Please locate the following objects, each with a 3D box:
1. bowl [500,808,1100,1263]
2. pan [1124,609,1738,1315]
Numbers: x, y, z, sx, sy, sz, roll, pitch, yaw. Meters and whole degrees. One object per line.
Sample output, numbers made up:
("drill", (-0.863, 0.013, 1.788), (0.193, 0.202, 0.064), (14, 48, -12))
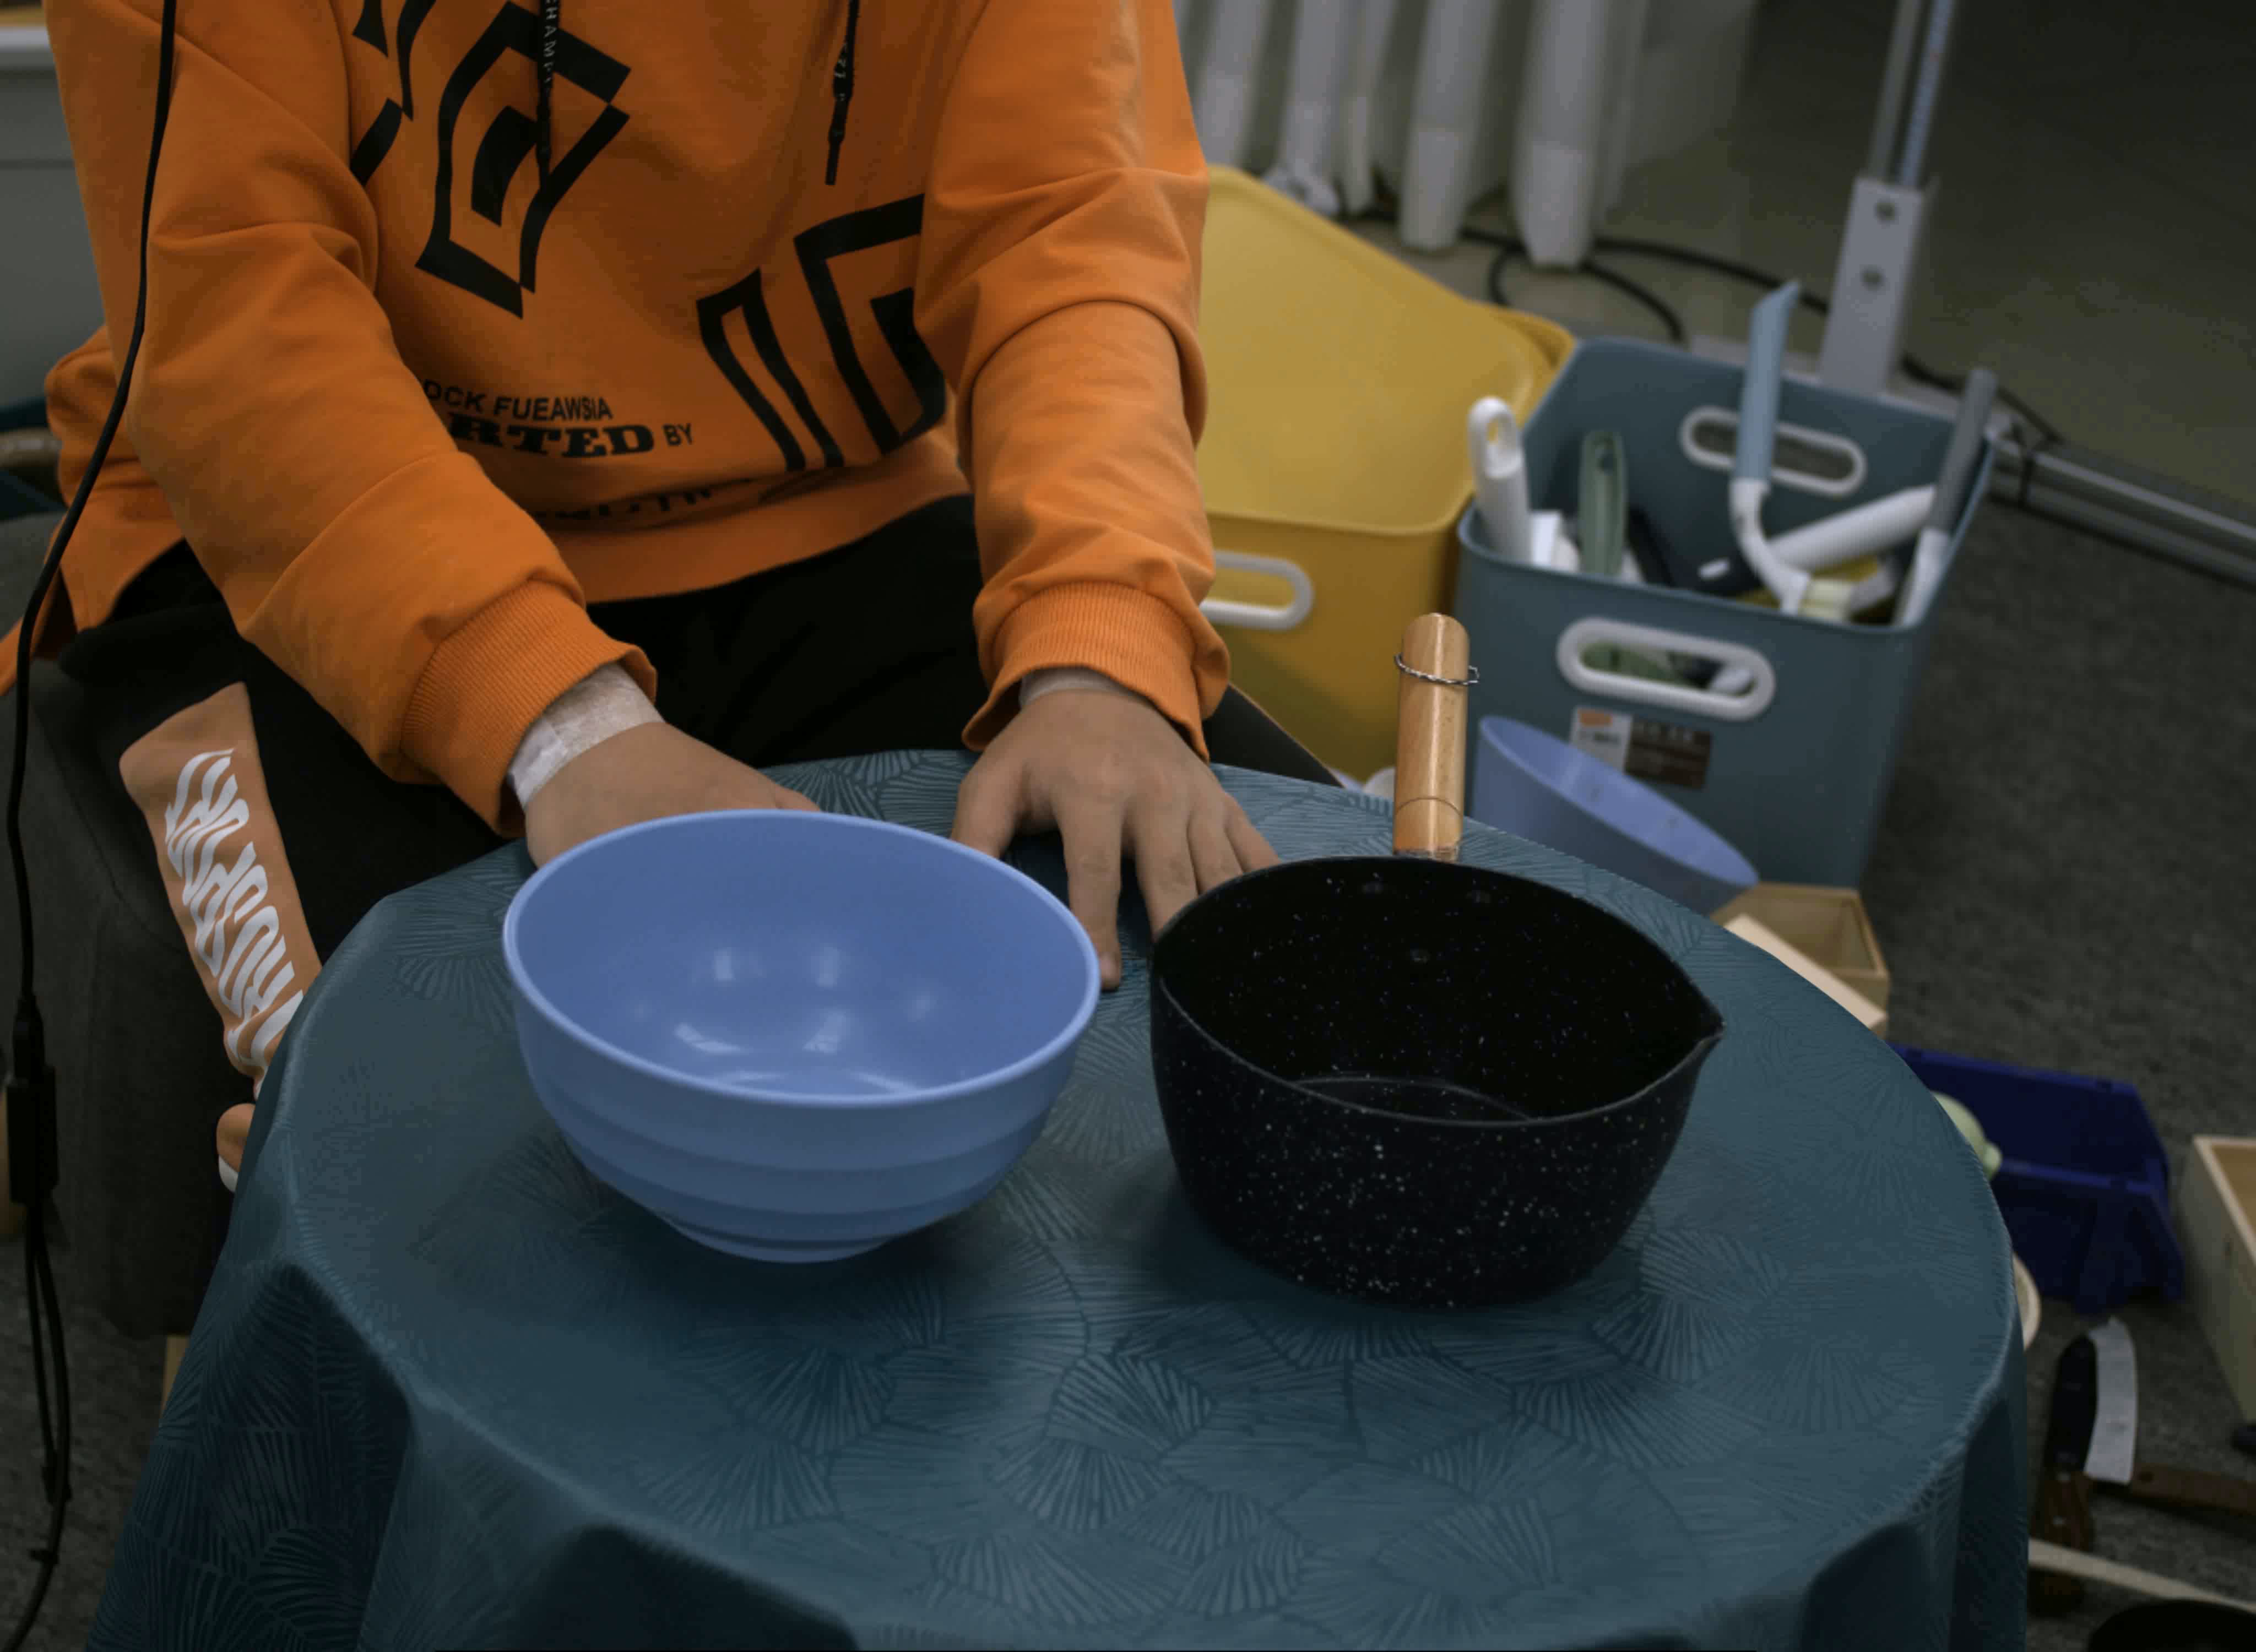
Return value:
("bowl", (-0.111, 0.080, 1.758), (0.196, 0.095, 0.198), (5, 28, -3))
("pan", (0.102, 0.043, 1.864), (0.207, 0.108, 0.345), (5, 28, 0))
